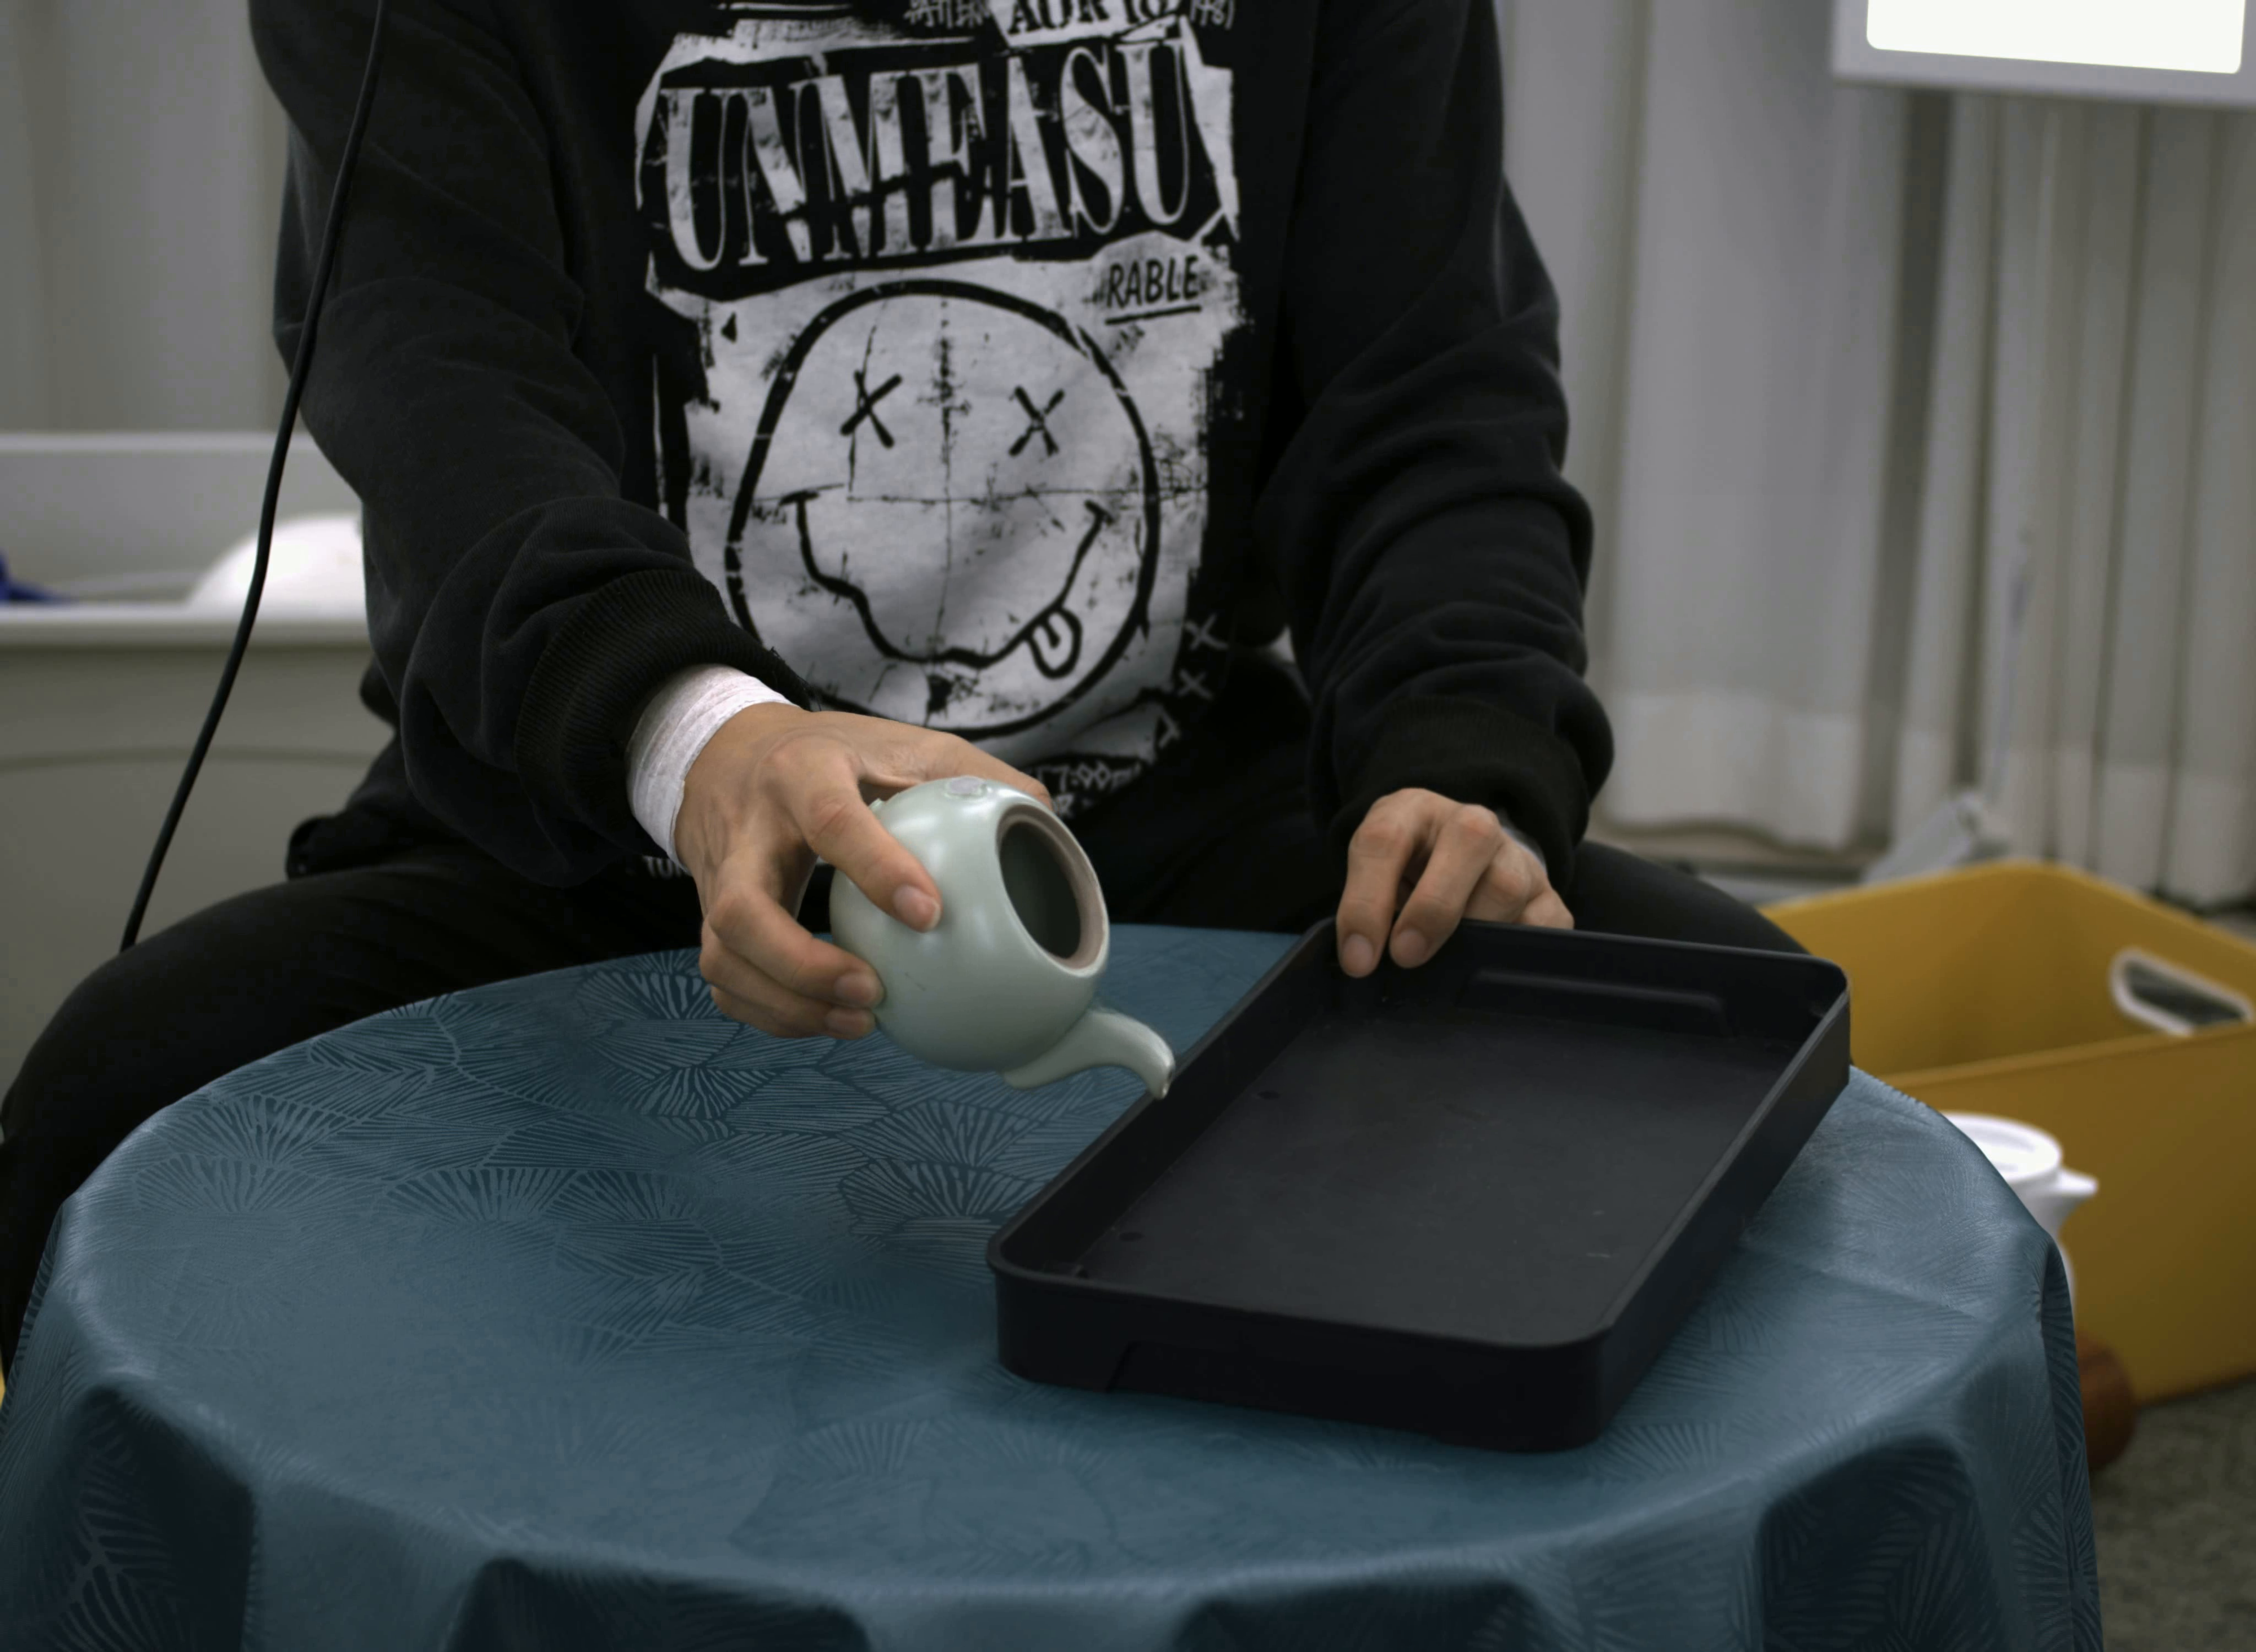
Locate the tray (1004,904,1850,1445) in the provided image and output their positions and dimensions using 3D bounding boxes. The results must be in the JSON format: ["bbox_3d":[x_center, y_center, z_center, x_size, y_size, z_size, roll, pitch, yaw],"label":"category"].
[{"bbox_3d":[0.098,0.097,1.579,0.182,0.037,0.318,5,20,19],"label":"tray"}]

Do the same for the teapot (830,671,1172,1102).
[{"bbox_3d":[-0.046,0.027,1.551,0.074,0.145,0.088,-21,11,26],"label":"teapot"}]
